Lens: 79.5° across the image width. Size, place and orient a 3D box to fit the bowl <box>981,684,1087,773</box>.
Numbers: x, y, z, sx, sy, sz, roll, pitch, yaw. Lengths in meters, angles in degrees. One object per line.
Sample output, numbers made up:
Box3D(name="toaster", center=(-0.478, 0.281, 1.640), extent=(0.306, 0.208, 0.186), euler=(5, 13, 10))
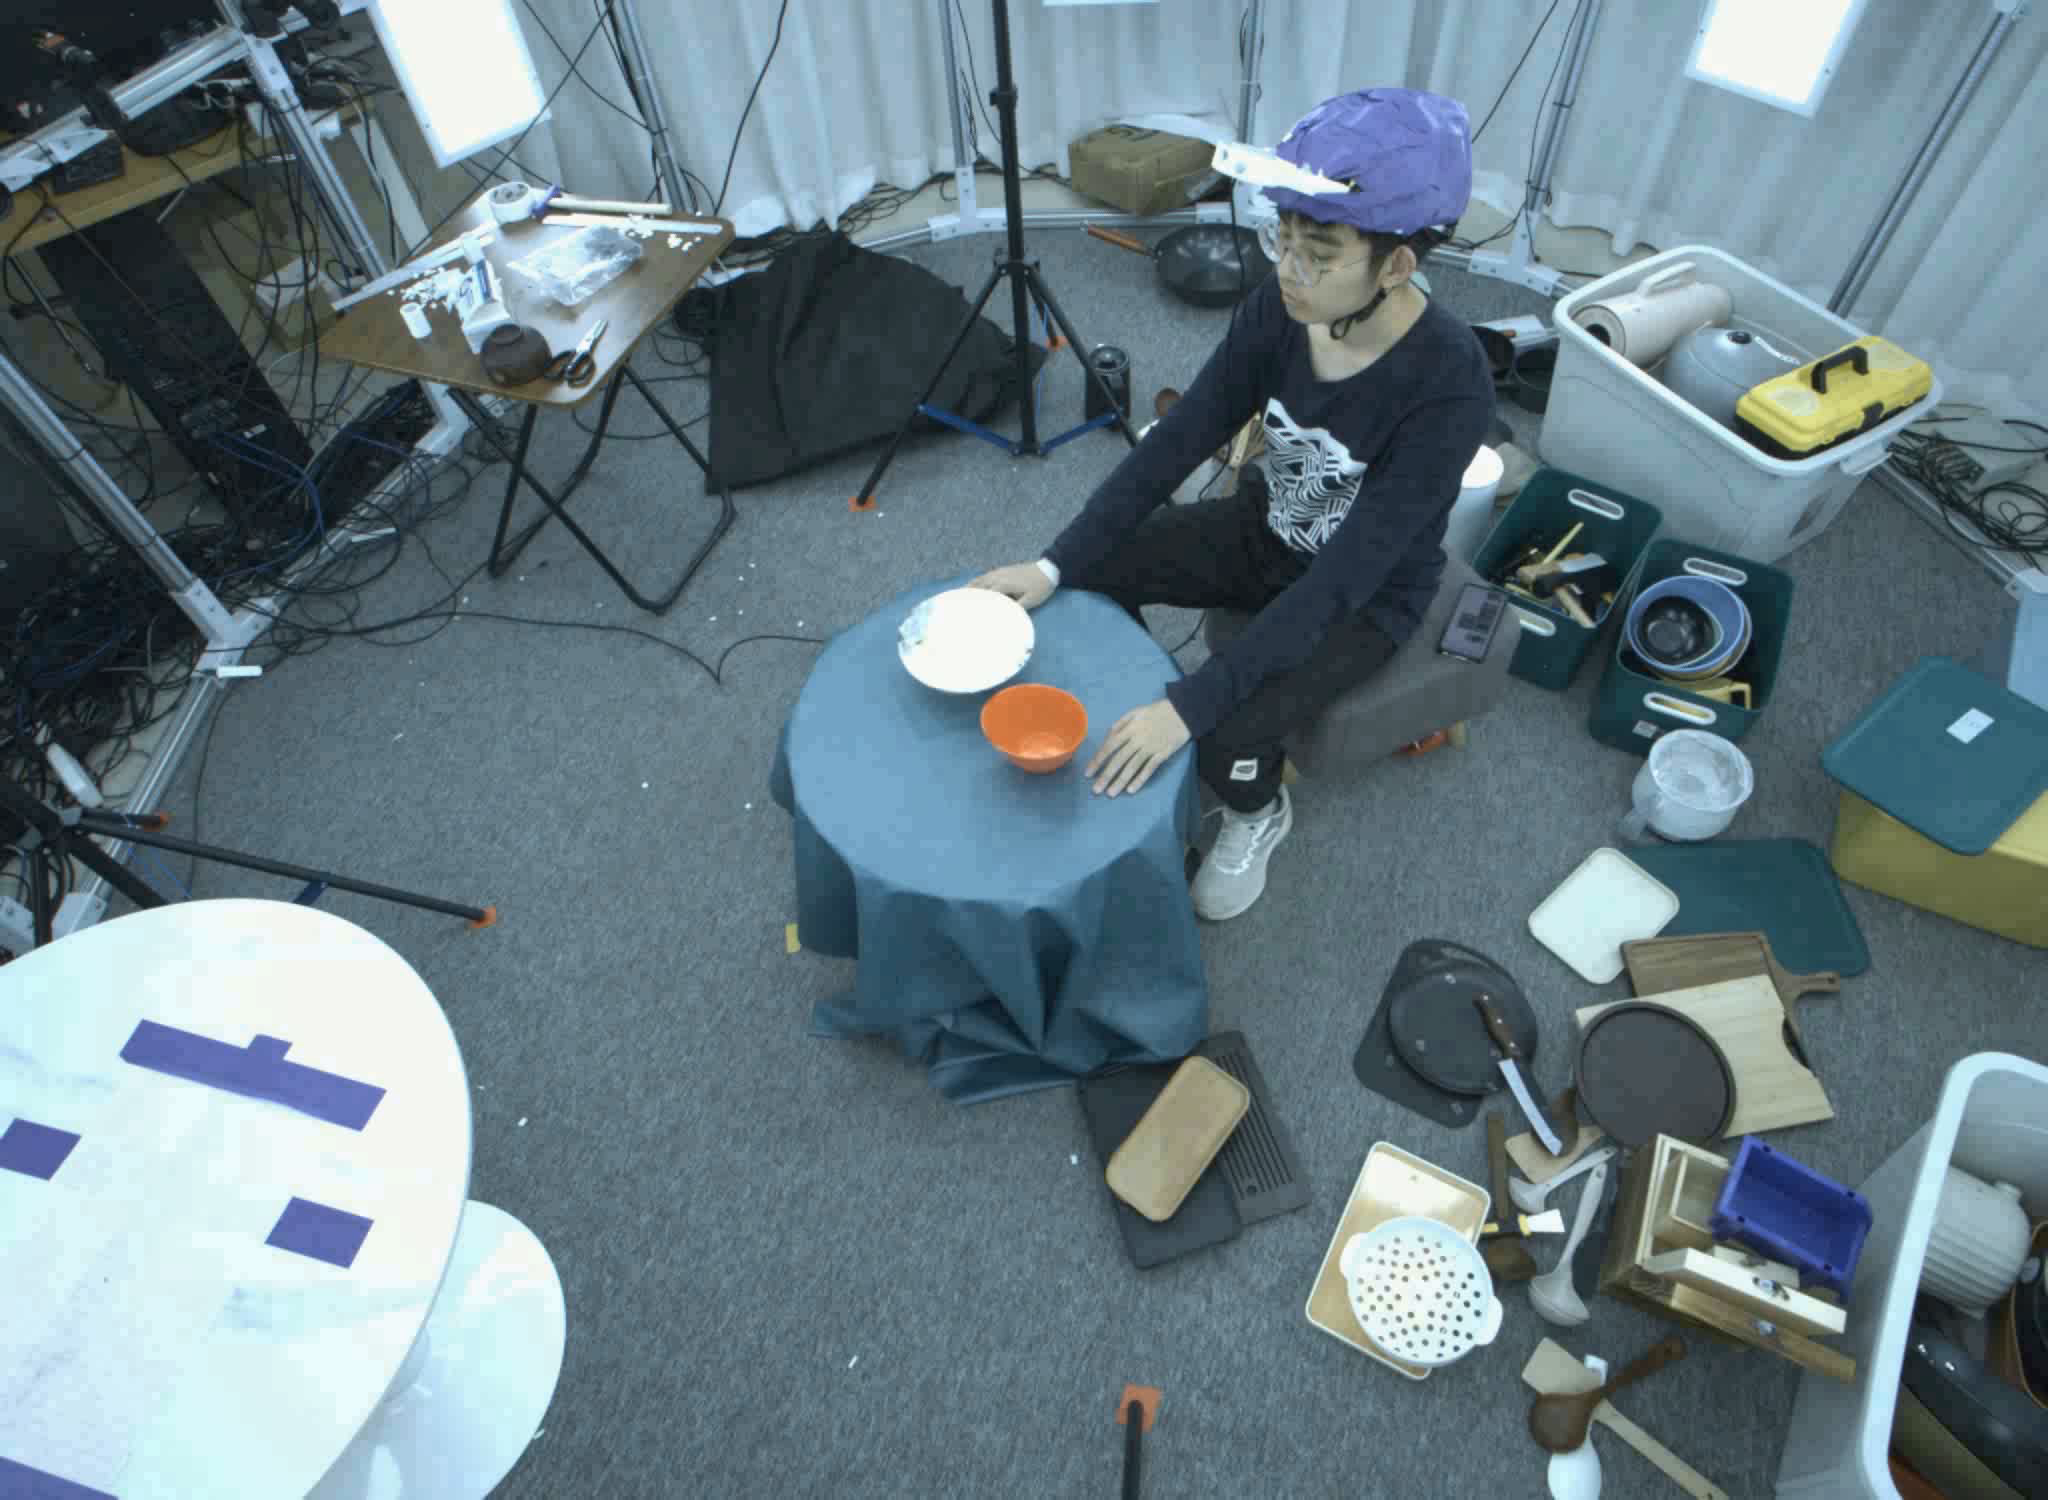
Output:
Box3D(name="bowl", center=(0.015, -0.017, 1.745), extent=(0.148, 0.105, 0.146), euler=(0, 53, 1))

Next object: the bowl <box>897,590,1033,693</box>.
Box3D(name="bowl", center=(-0.089, -0.144, 1.857), extent=(0.204, 0.078, 0.202), euler=(3, 54, -2))
